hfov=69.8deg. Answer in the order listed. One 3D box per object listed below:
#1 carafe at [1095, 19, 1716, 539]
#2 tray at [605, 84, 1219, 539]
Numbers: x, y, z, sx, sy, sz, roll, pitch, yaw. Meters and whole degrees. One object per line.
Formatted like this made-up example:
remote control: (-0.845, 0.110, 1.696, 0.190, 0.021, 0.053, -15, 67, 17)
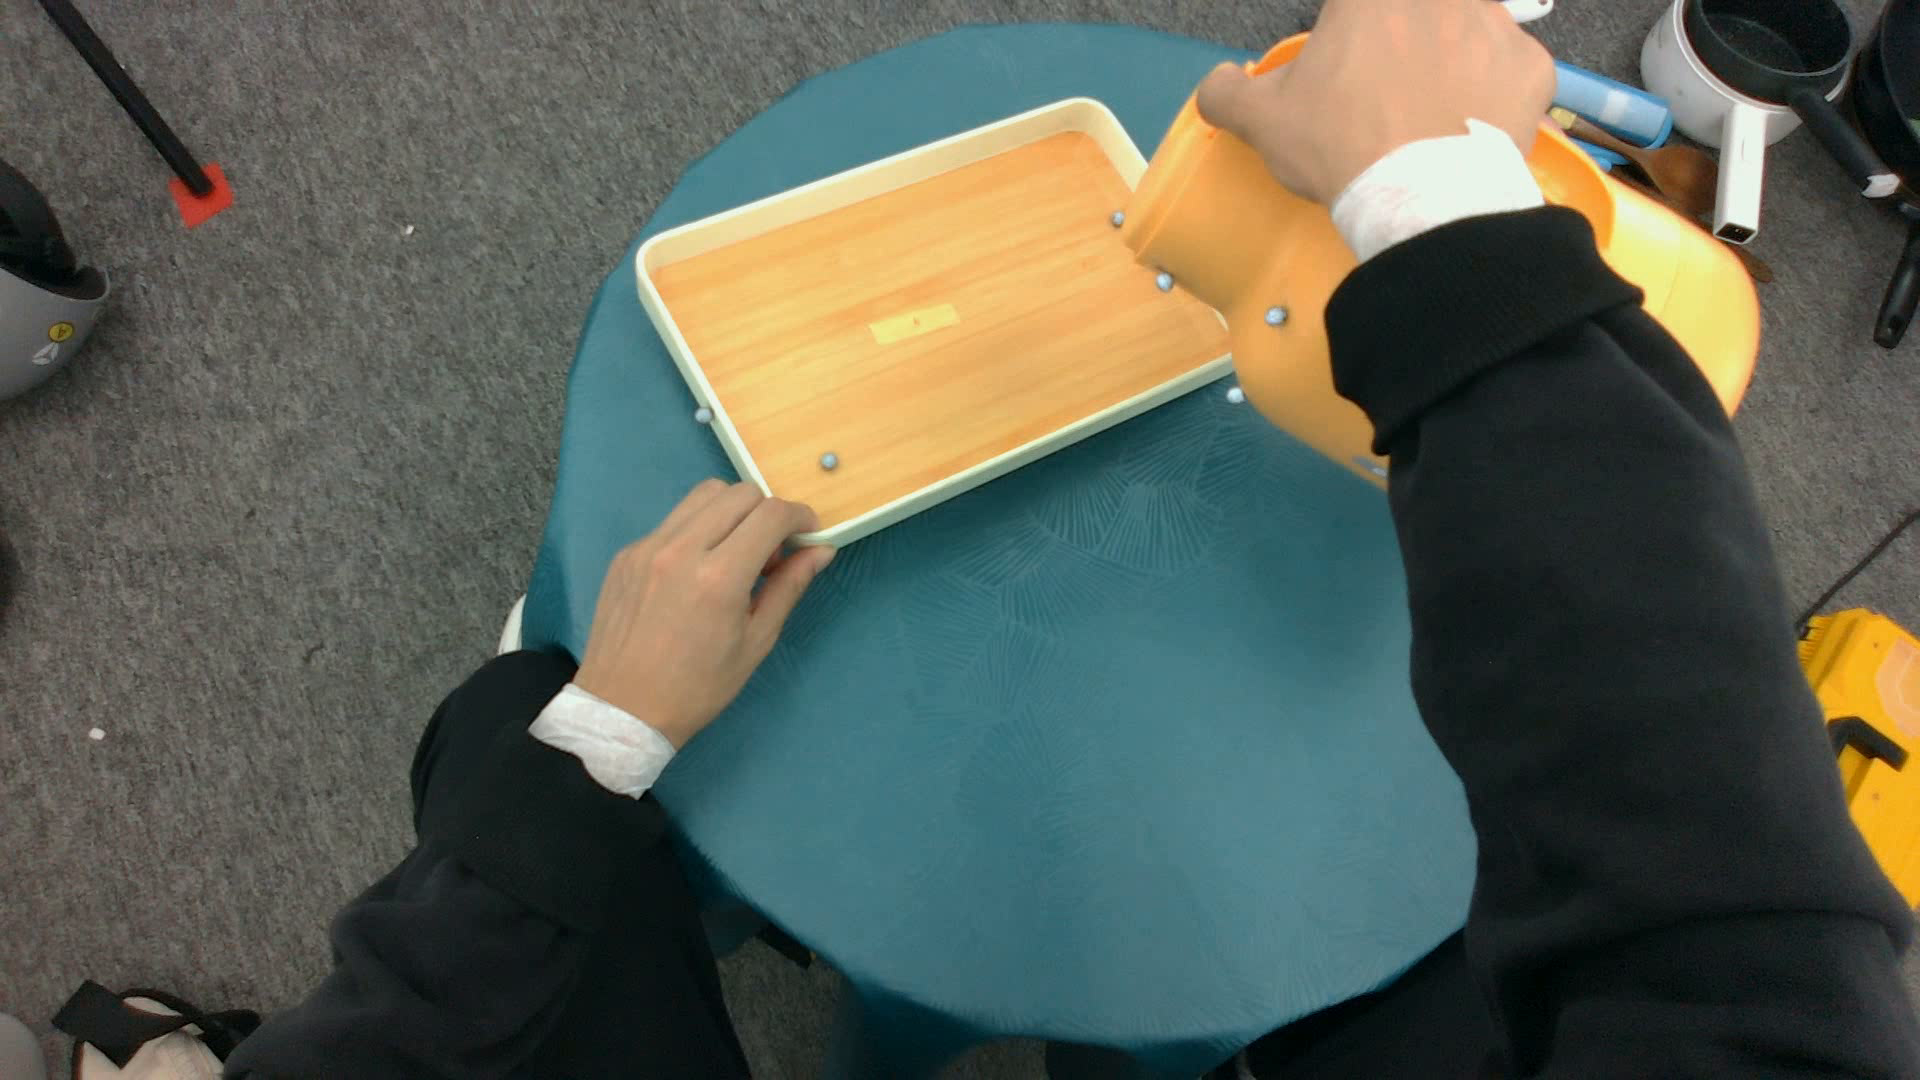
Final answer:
carafe: (0.193, -0.122, 0.603, 0.260, 0.202, 0.164, 28, 79, -7)
tray: (-0.017, -0.134, 0.744, 0.301, 0.027, 0.192, -25, 72, -23)
